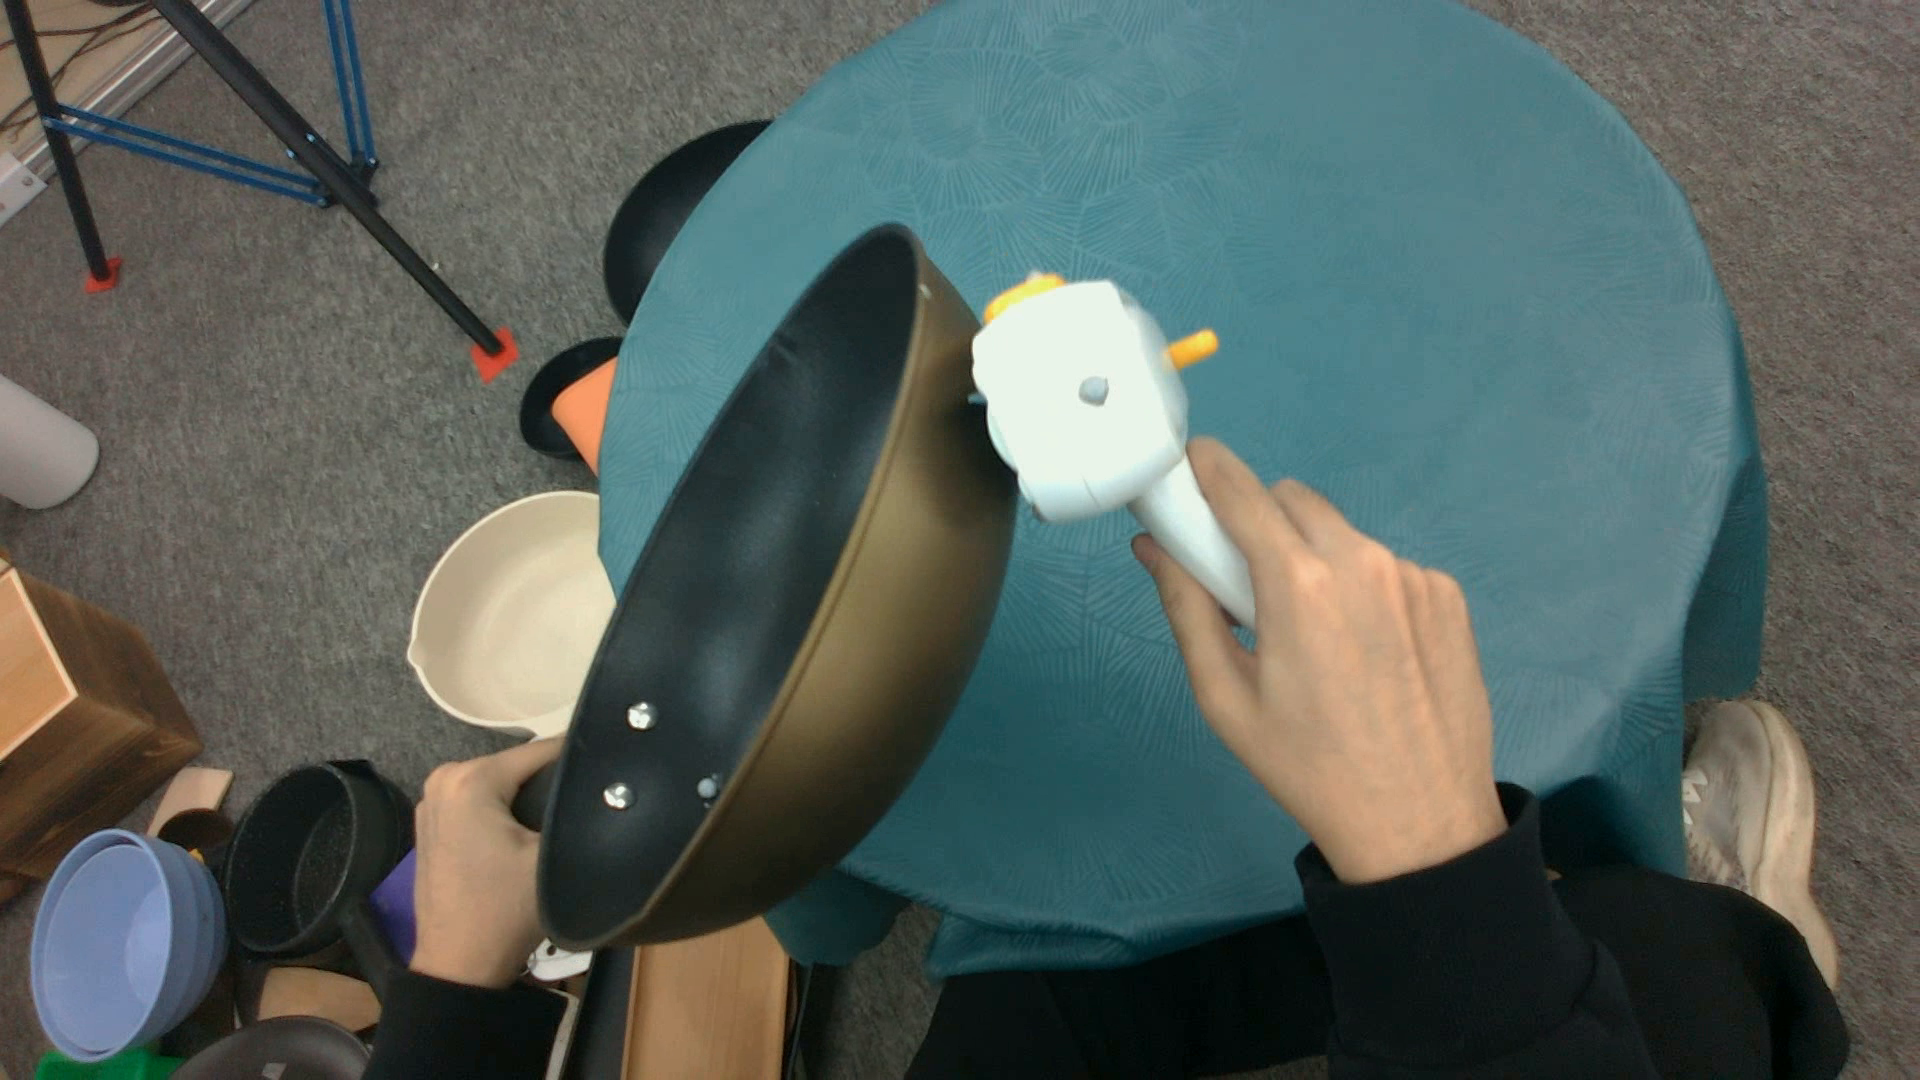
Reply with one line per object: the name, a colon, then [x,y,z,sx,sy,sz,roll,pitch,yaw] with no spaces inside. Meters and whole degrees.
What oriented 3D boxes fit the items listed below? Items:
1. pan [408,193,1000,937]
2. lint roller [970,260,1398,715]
pan: [-0.116,0.069,0.564,0.461,0.087,0.289,-46,29,36]
lint roller: [0.077,-0.012,0.472,0.074,0.193,0.192,-33,96,7]
